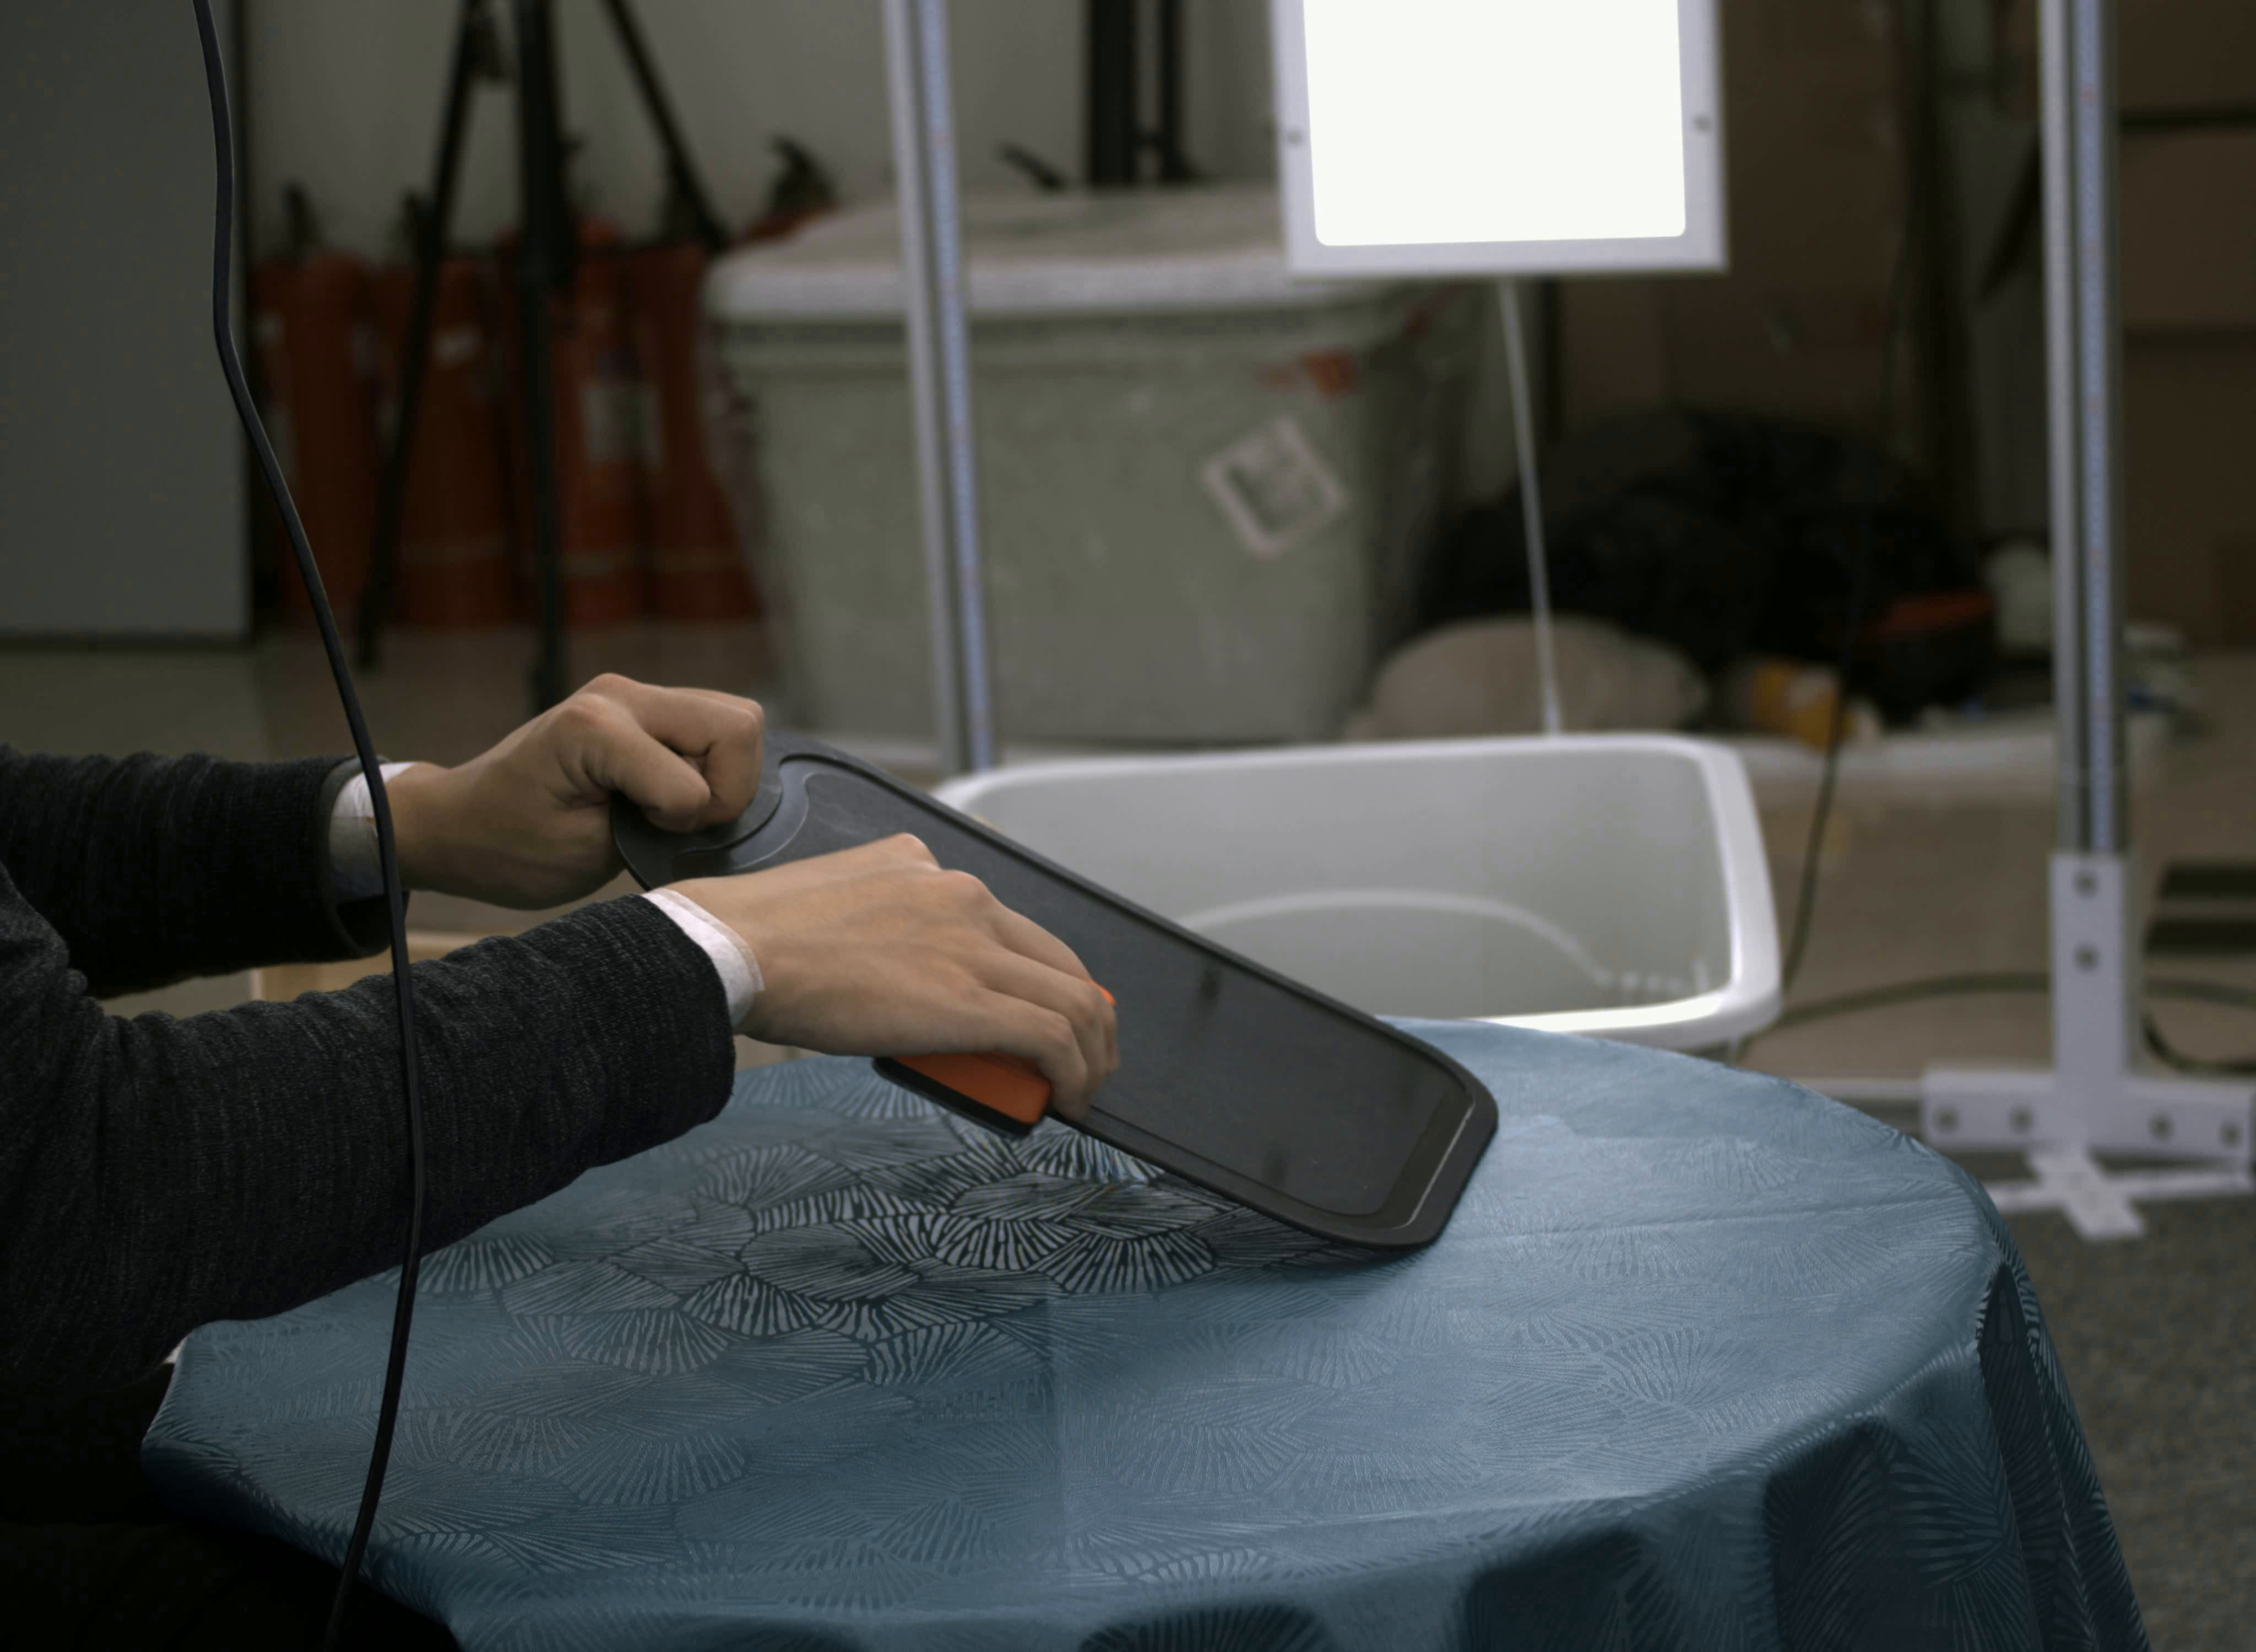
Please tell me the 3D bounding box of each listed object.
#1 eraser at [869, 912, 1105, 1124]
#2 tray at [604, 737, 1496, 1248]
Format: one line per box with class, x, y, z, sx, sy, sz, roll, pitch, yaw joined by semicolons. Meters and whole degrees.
eraser;-0.046;0.062;1.813;0.059;0.023;0.106;20;21;6
tray;-0.029;0.050;1.899;0.326;0.010;0.208;26;19;8
